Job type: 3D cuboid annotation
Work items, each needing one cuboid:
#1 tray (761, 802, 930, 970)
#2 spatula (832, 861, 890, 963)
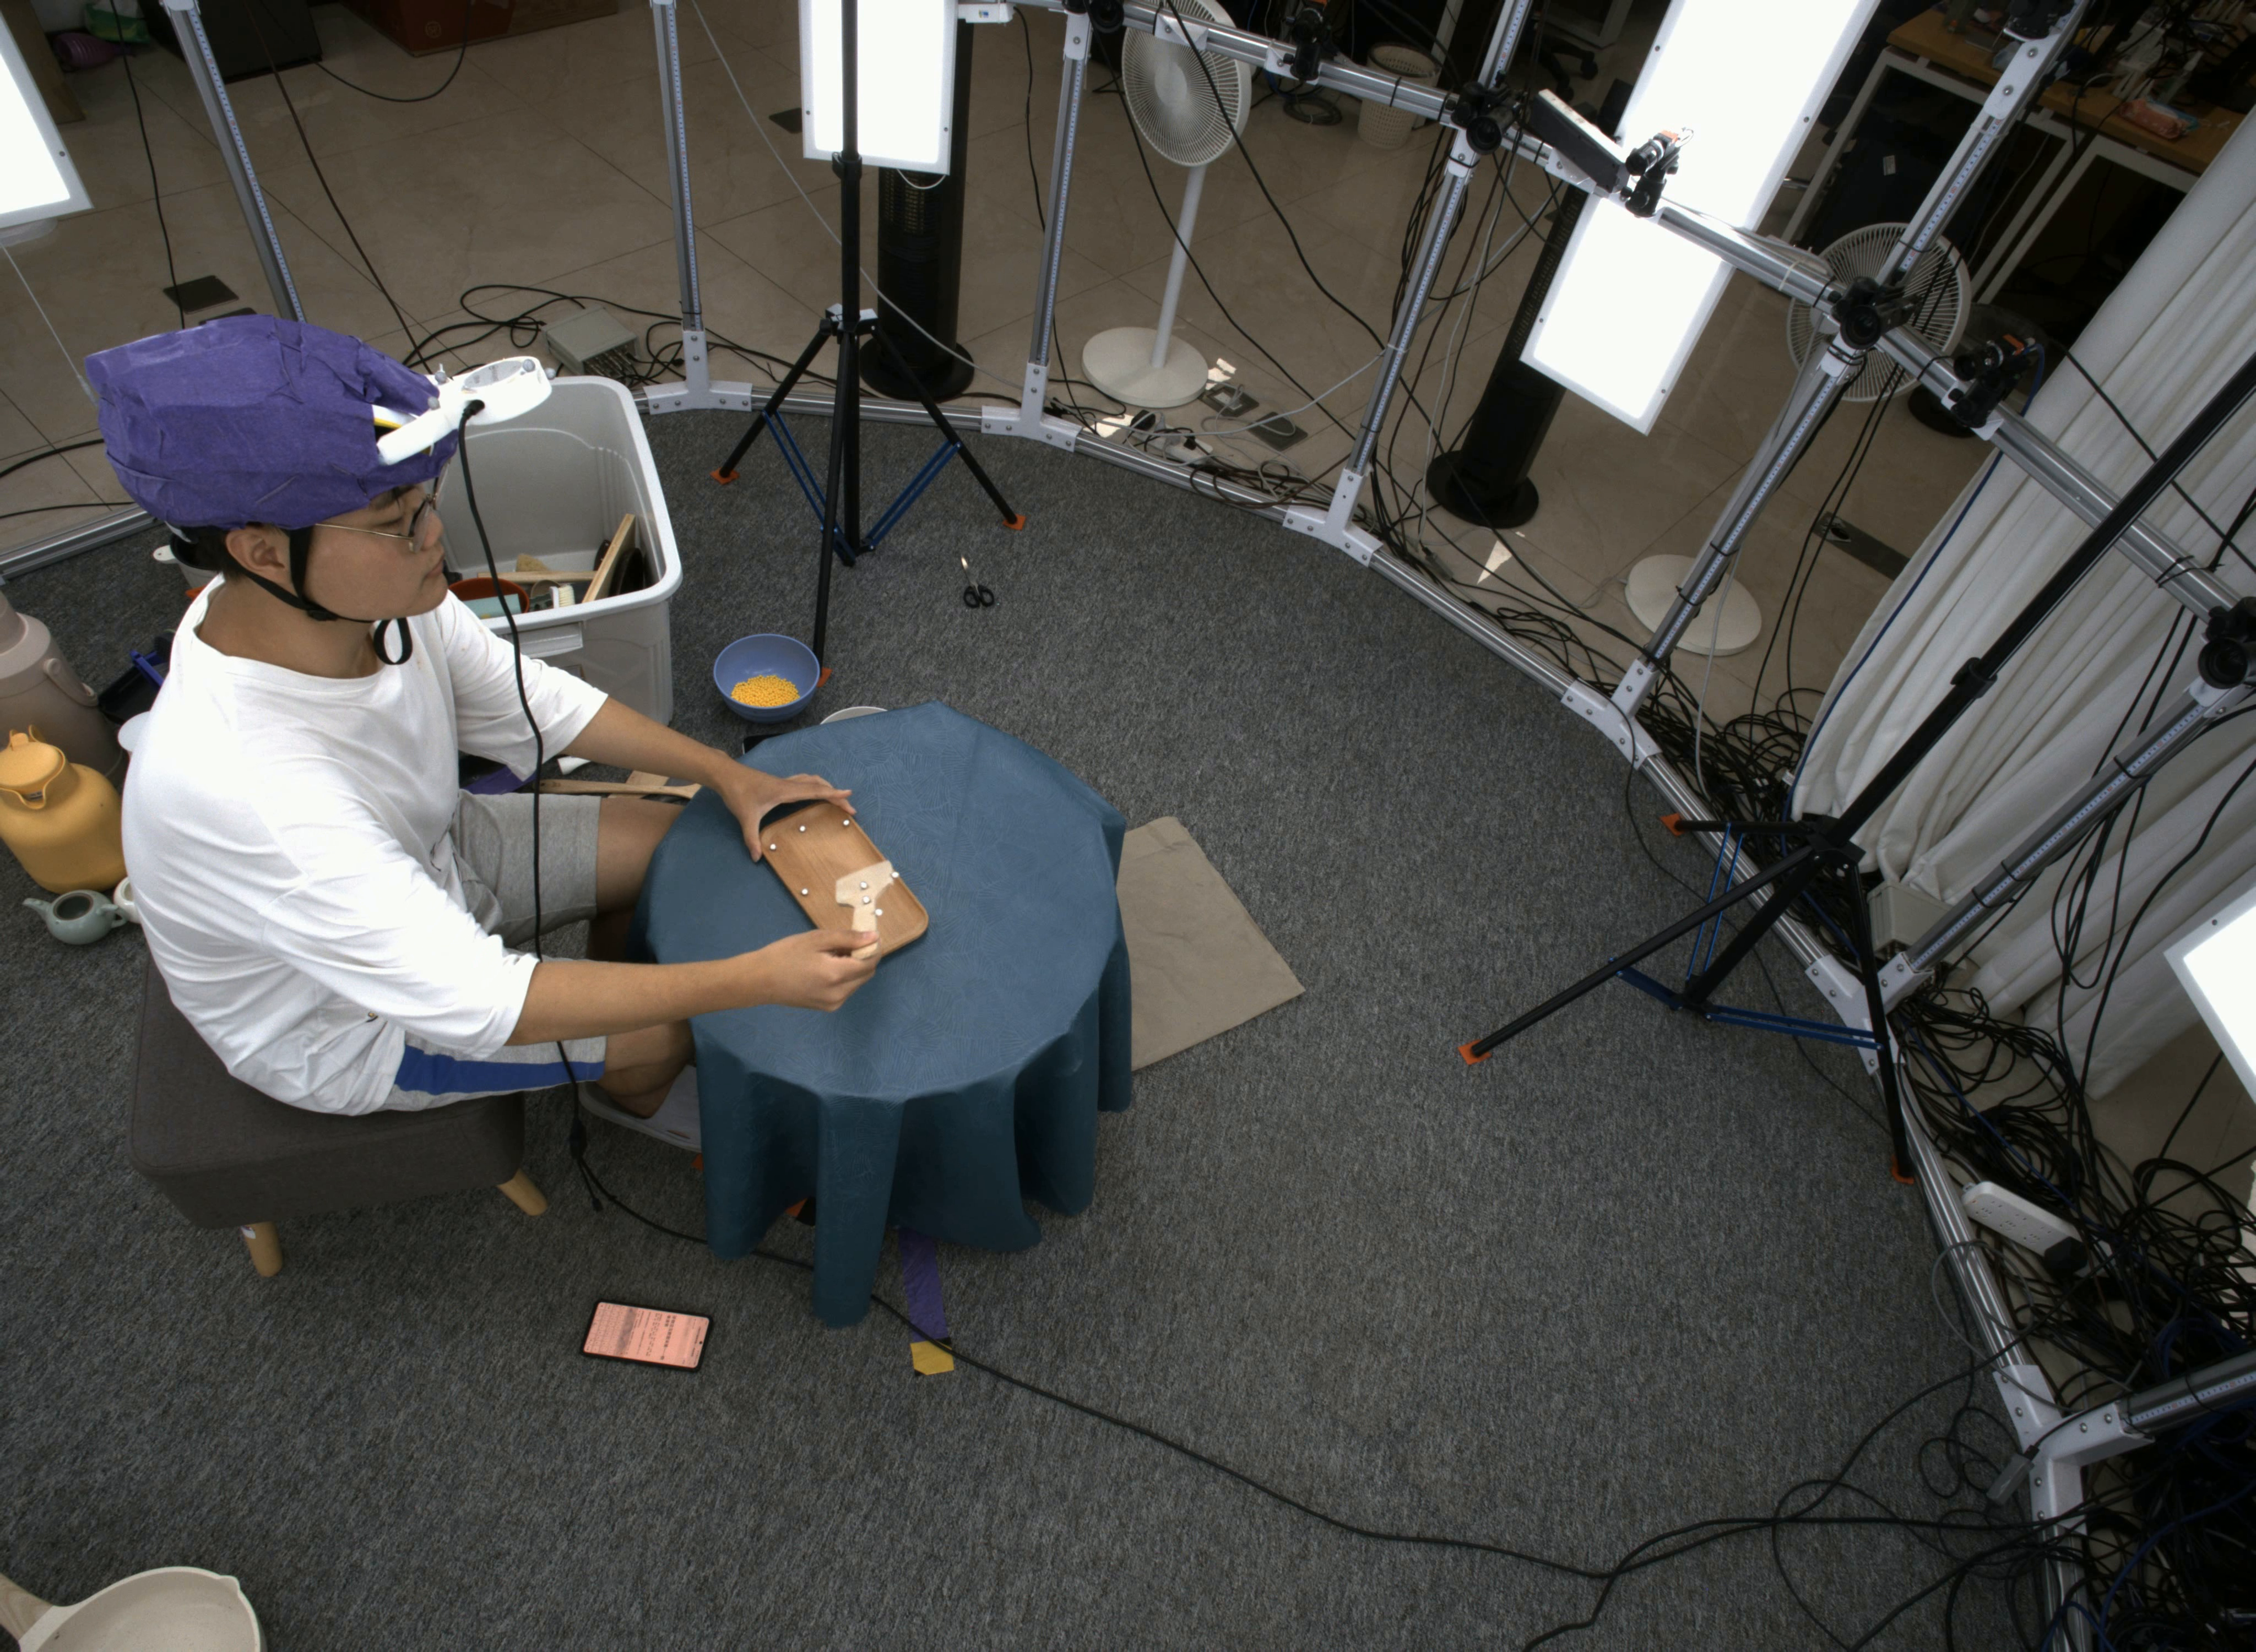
[{"bbox_3d":[-0.367,0.074,1.685,0.131,0.023,0.245,-29,66,-27],"label":"tray"},{"bbox_3d":[-0.296,0.093,1.433,0.072,0.011,0.286,-22,18,-4],"label":"spatula"}]
